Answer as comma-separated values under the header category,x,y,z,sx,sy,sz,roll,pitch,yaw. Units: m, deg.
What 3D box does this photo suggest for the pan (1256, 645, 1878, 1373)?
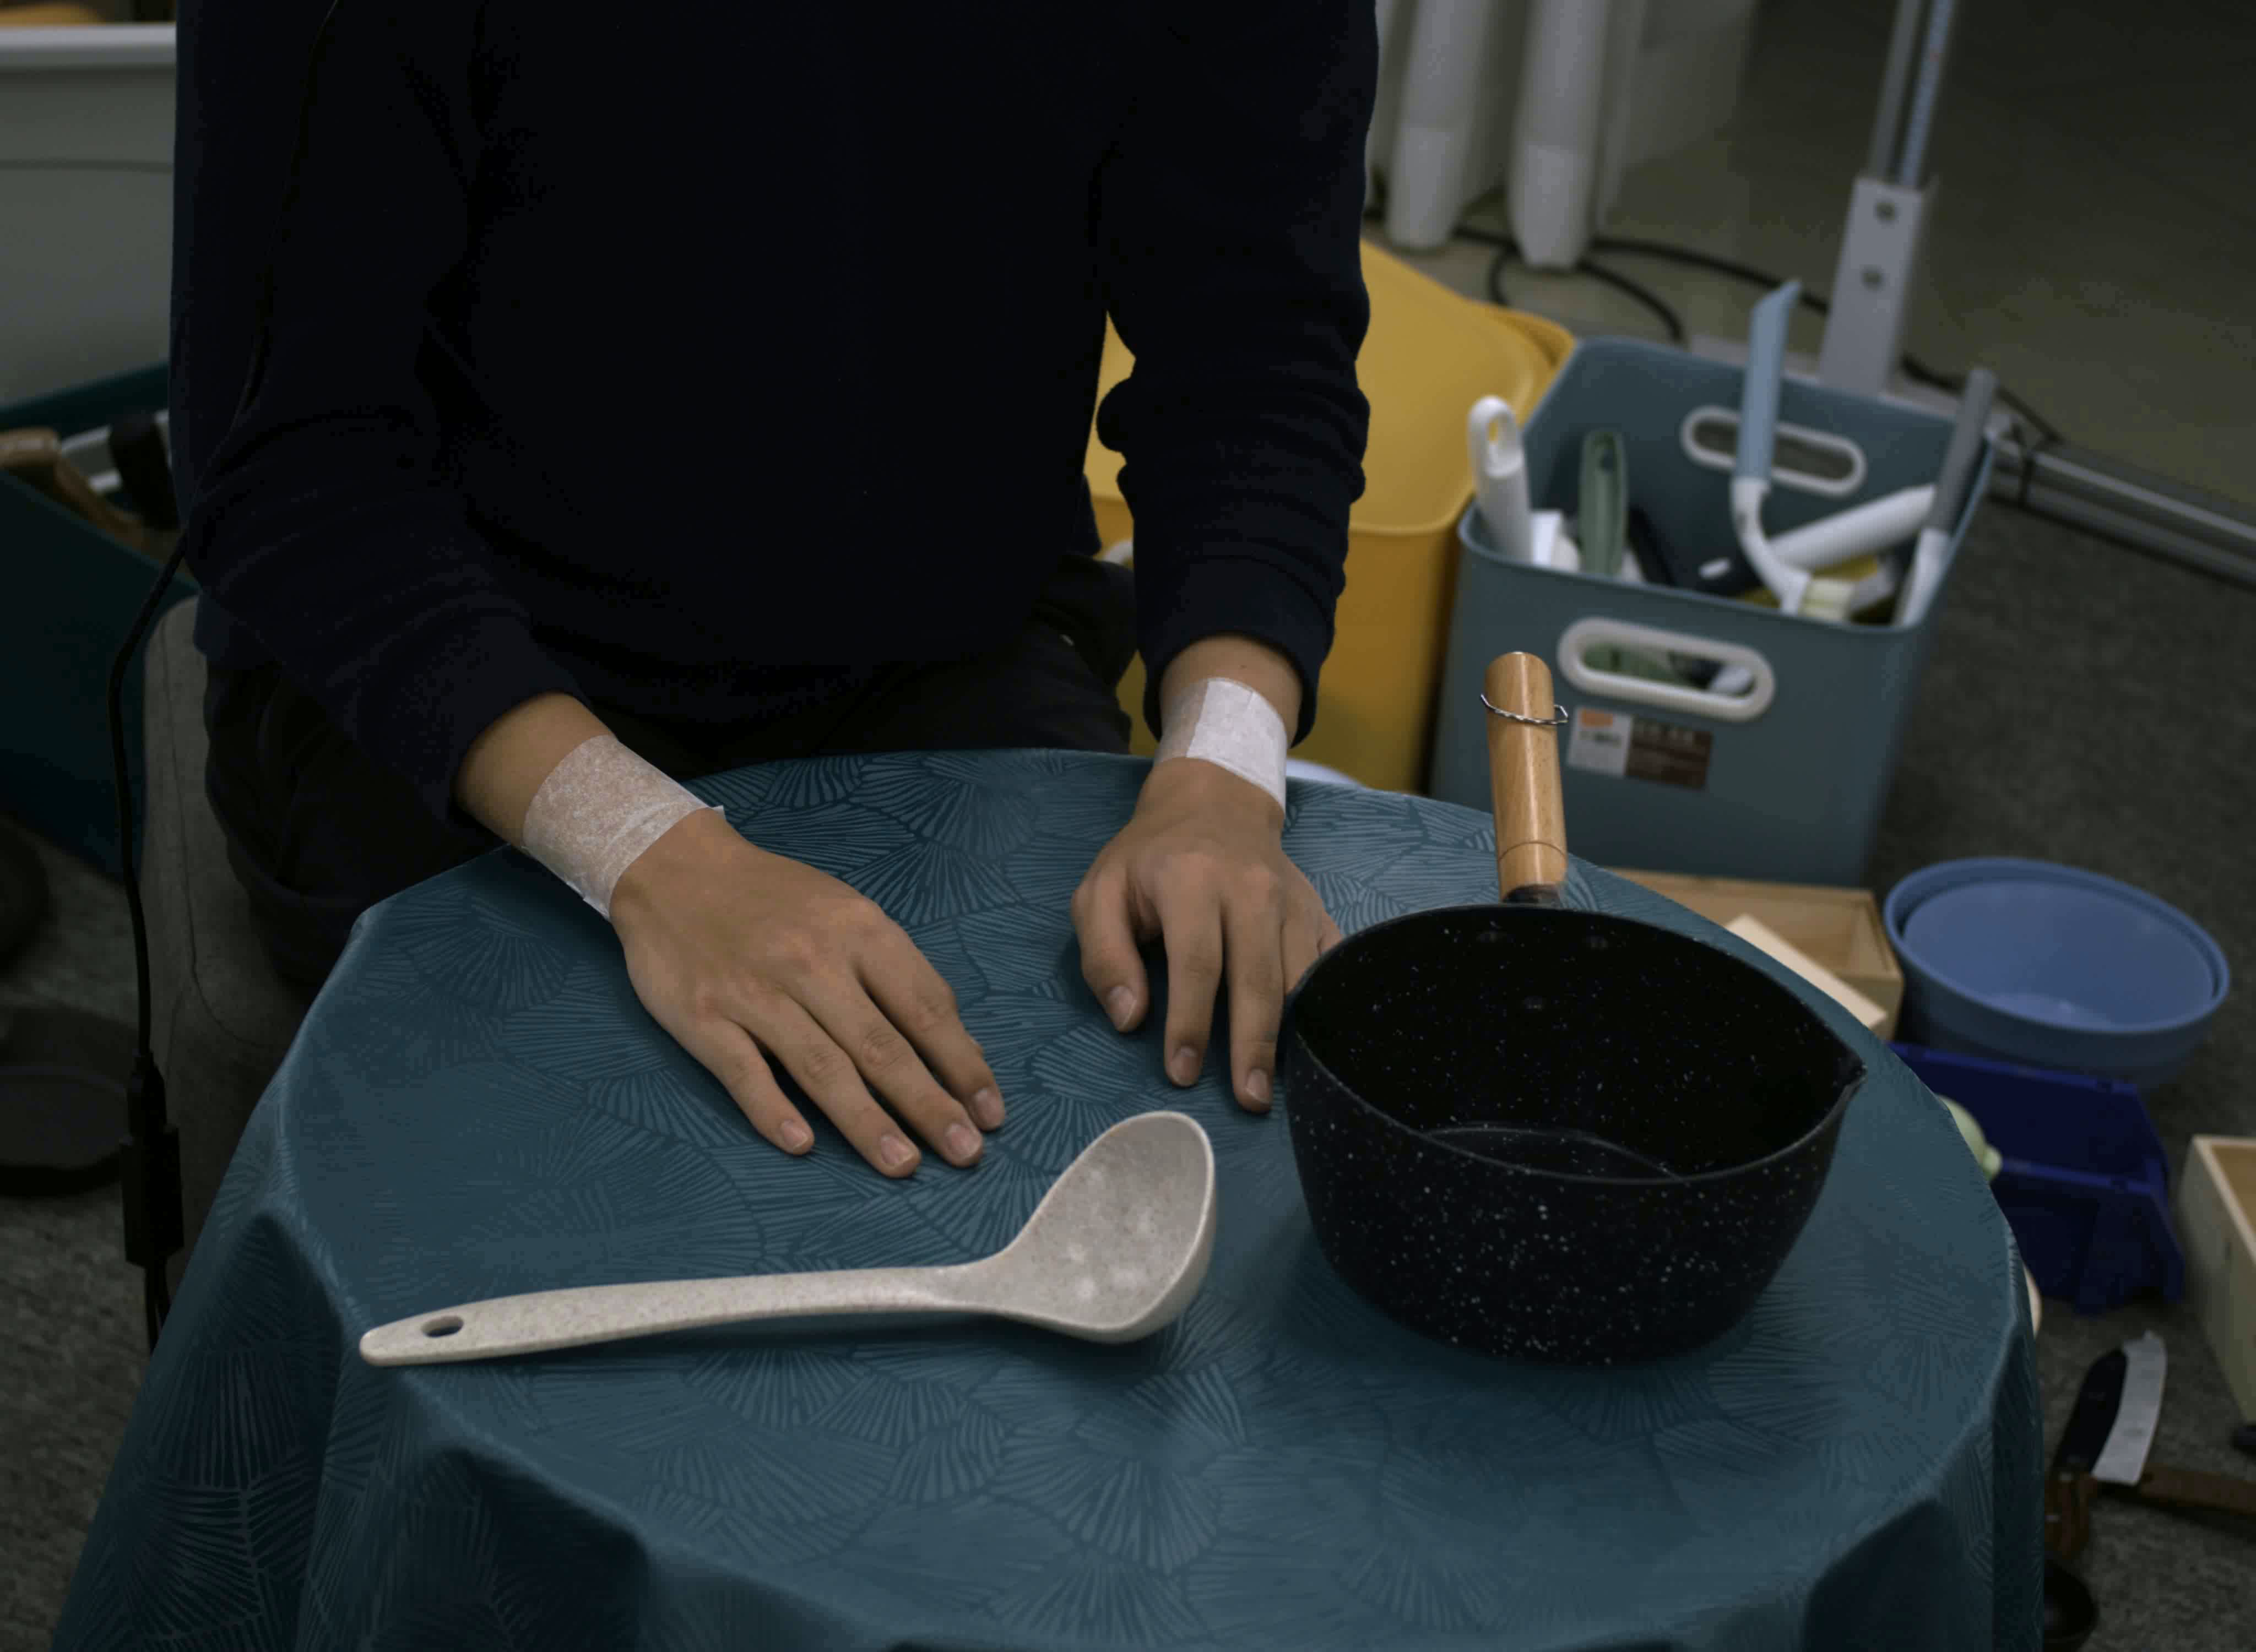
category,x,y,z,sx,sy,sz,roll,pitch,yaw
pan,0.141,0.059,1.842,0.207,0.108,0.345,3,28,-4

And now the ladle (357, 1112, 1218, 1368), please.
category,x,y,z,sx,sy,sz,roll,pitch,yaw
ladle,-0.106,0.134,1.687,0.273,0.069,0.090,-2,35,-15
